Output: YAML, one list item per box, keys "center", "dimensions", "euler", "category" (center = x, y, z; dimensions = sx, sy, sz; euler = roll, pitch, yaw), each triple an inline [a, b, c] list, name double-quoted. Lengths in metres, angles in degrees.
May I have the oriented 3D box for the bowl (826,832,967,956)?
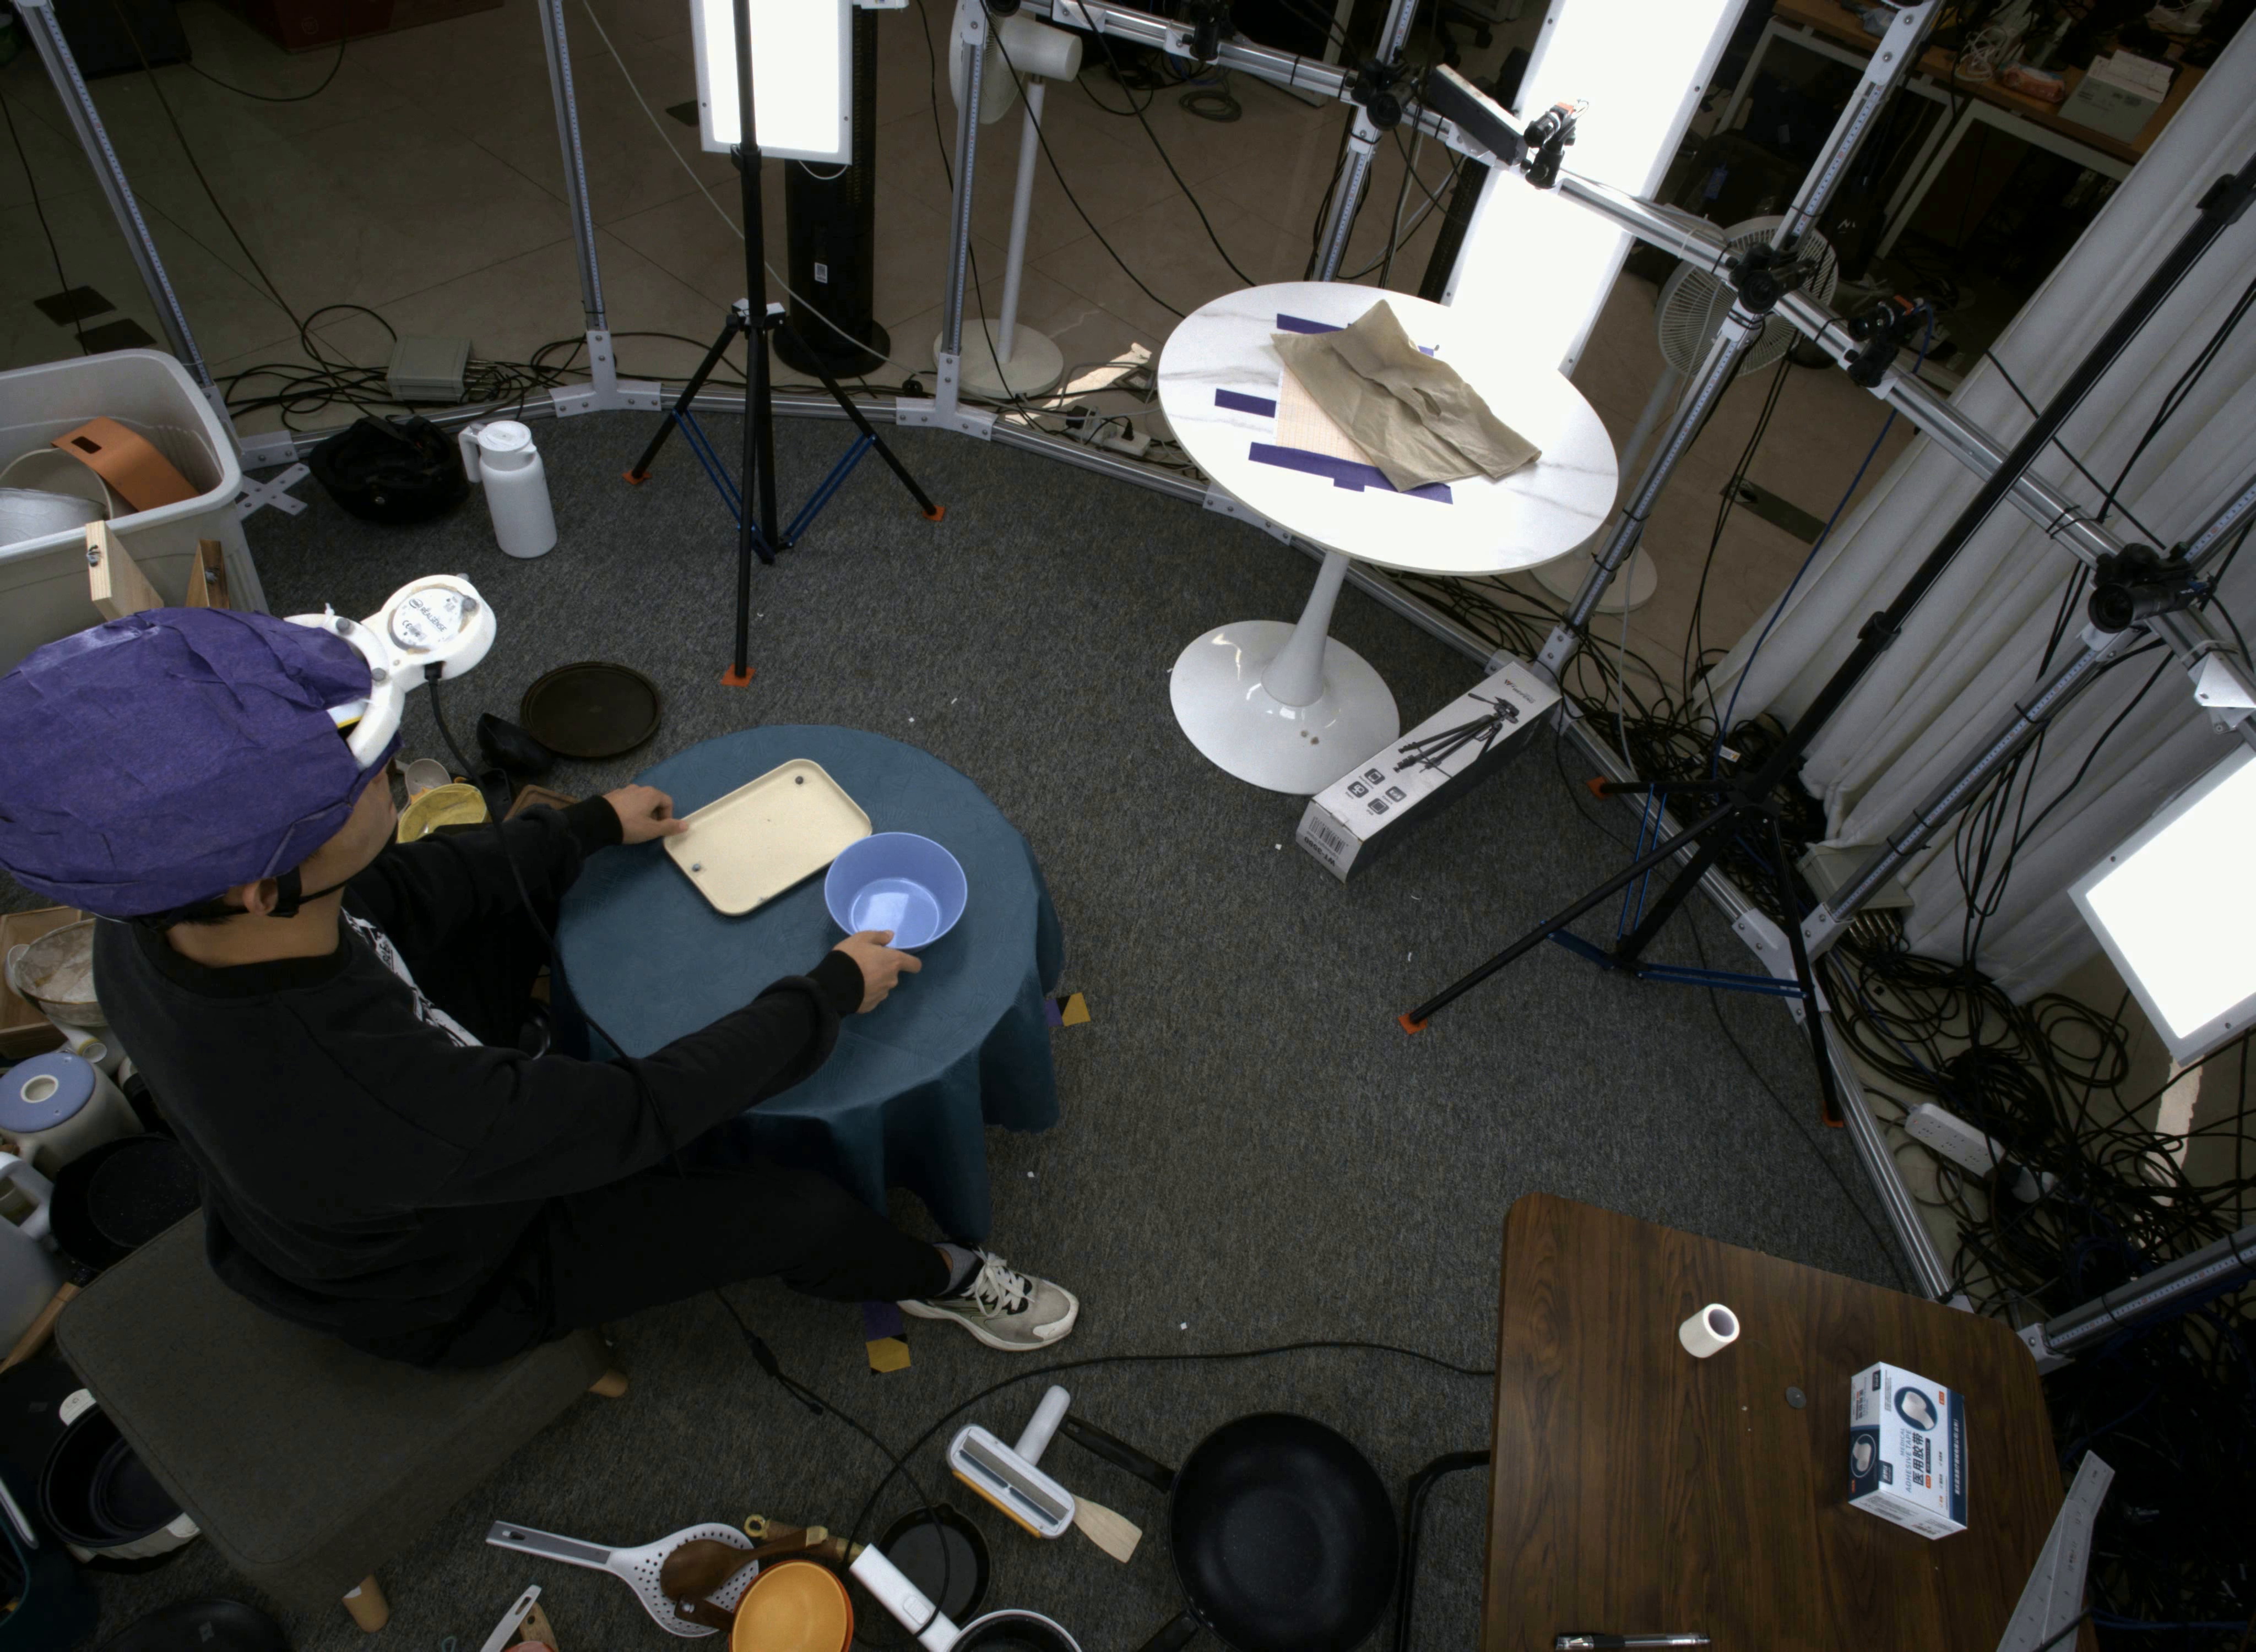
- center: [-0.293, 0.096, 1.646]
  dimensions: [0.175, 0.072, 0.173]
  euler: [7, 52, -8]
  category: "bowl"

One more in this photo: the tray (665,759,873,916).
- center: [-0.469, 0.012, 1.697]
  dimensions: [0.240, 0.018, 0.167]
  euler: [-34, 68, -32]
  category: "tray"
